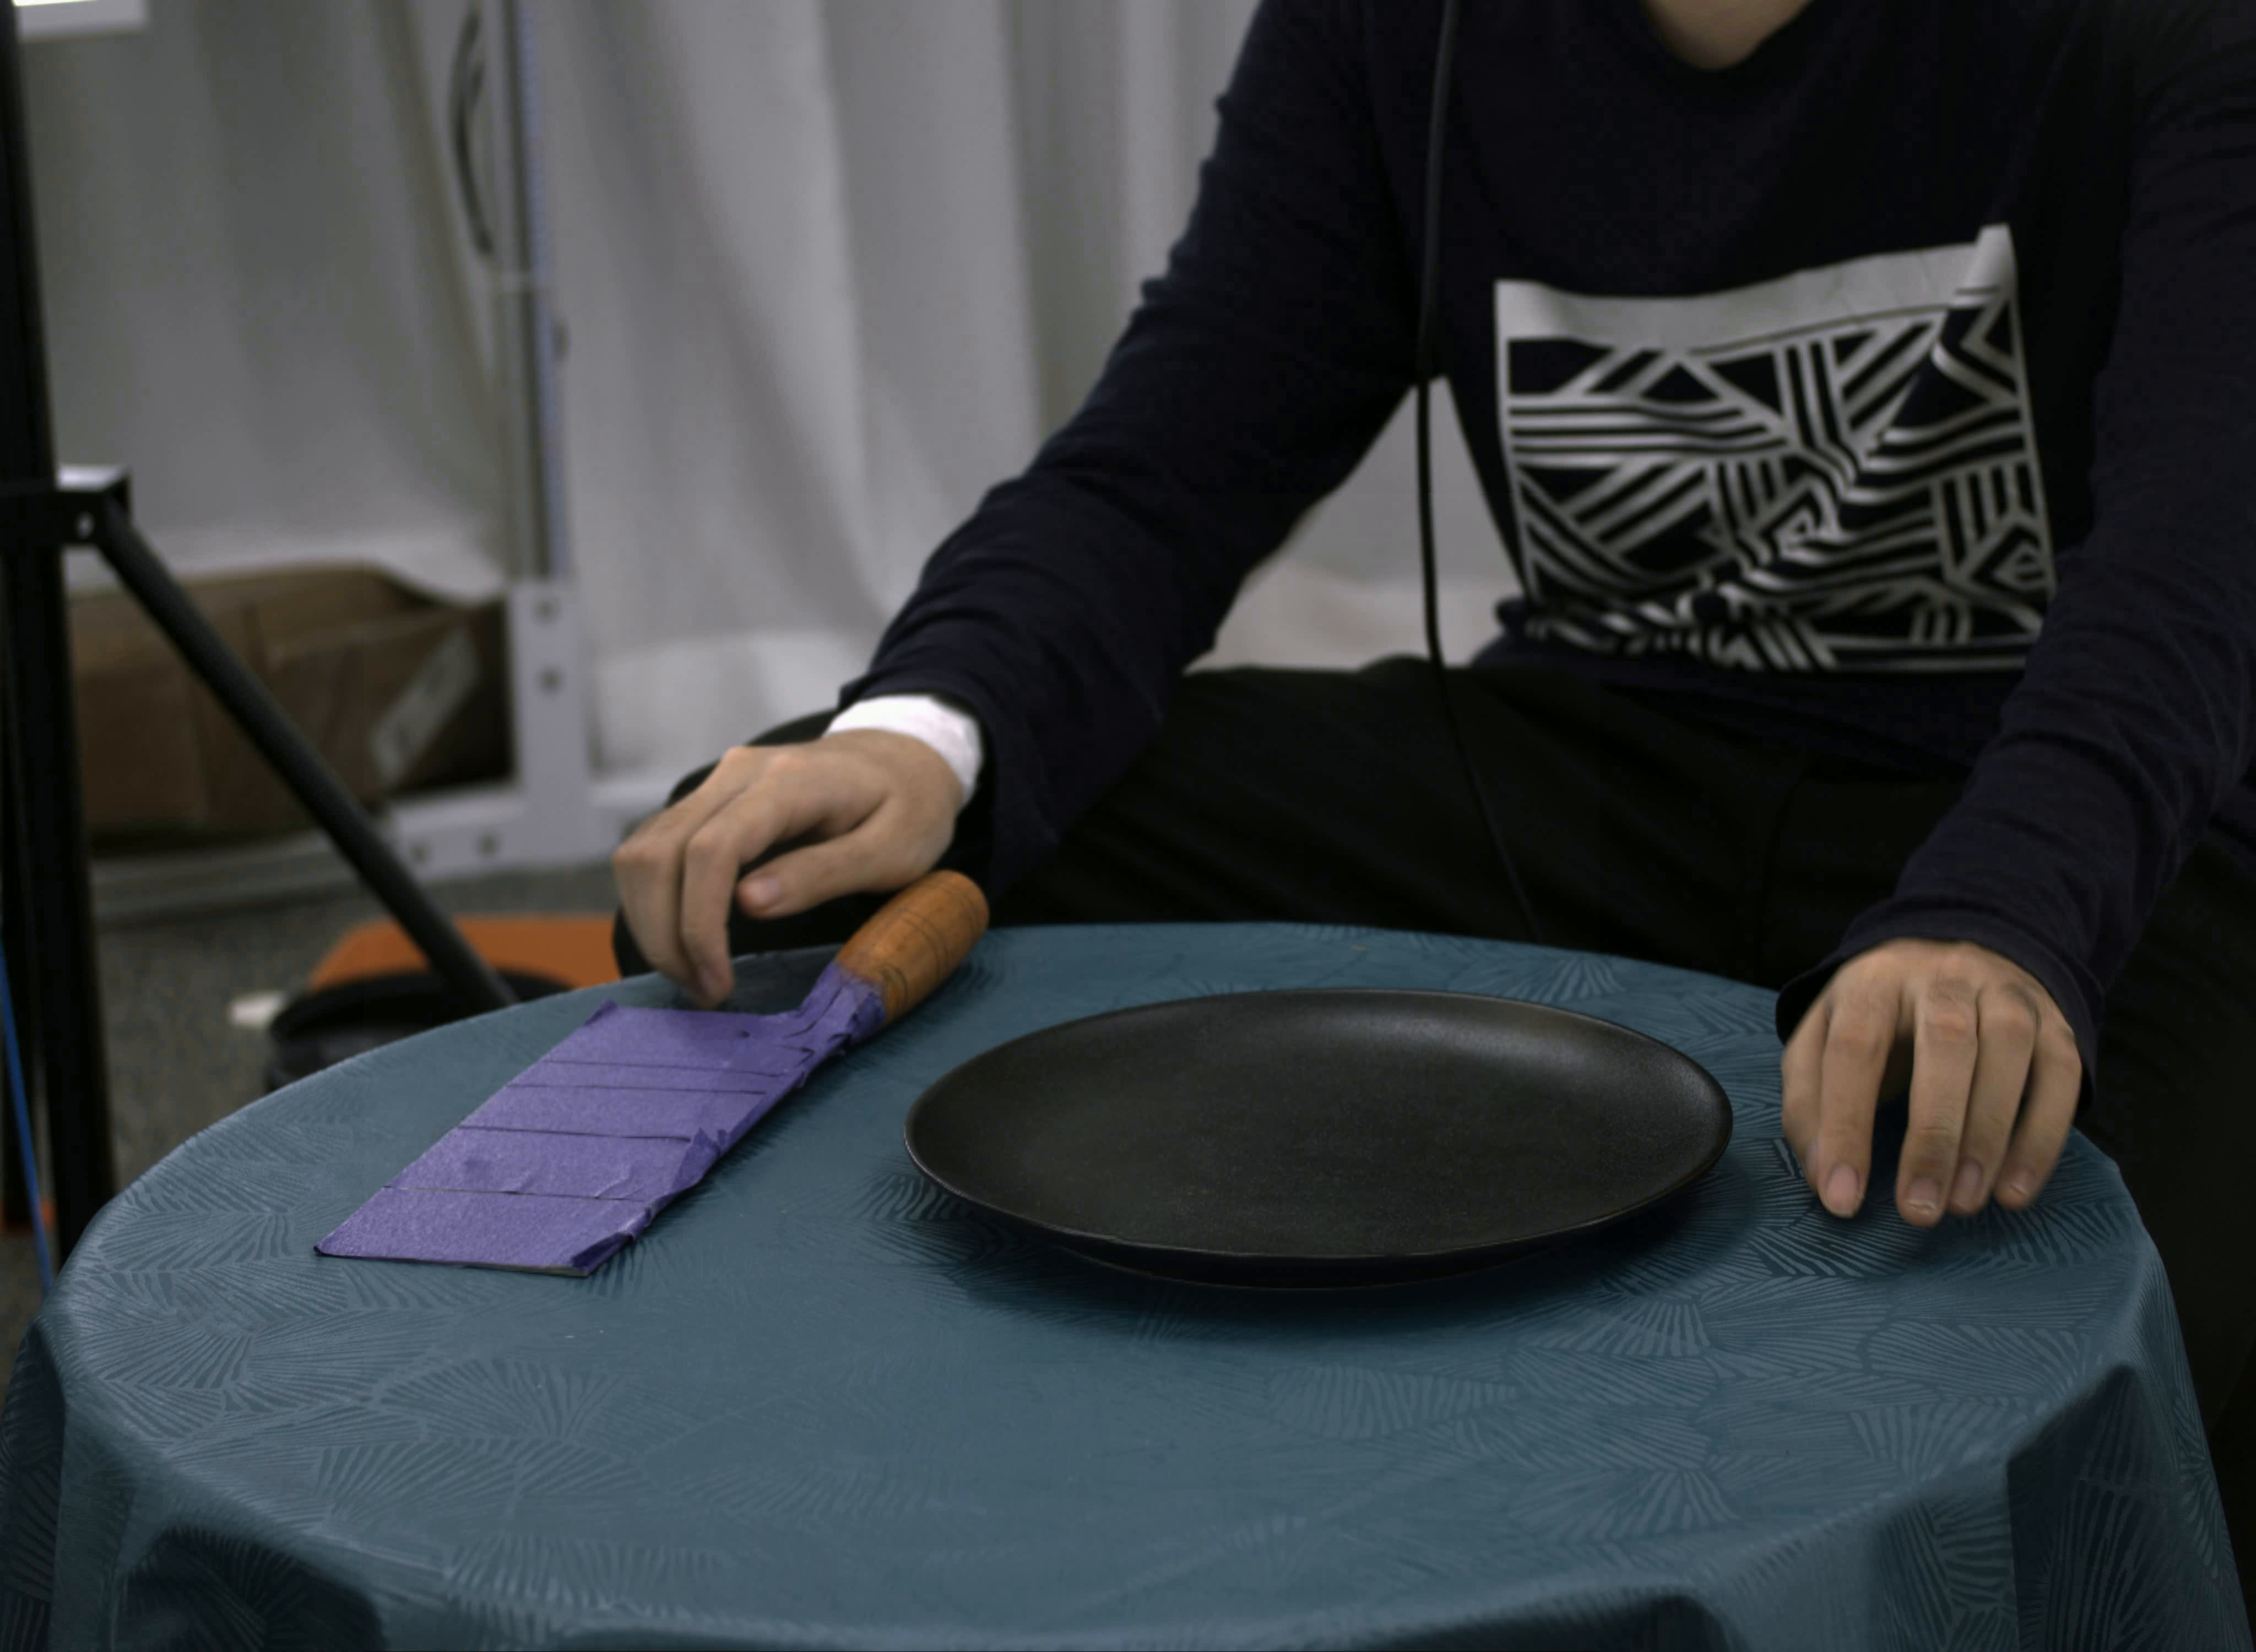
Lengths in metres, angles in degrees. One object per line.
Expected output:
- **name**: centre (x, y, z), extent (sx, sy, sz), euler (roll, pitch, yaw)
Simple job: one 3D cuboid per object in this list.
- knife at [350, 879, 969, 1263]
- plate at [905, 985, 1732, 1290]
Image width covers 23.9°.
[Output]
- **knife**: centre (-0.143, 0.073, 1.660), extent (0.105, 0.032, 0.312), euler (3, 17, 19)
- **plate**: centre (0.056, 0.094, 1.561), extent (0.243, 0.023, 0.245), euler (-3, 16, -1)
